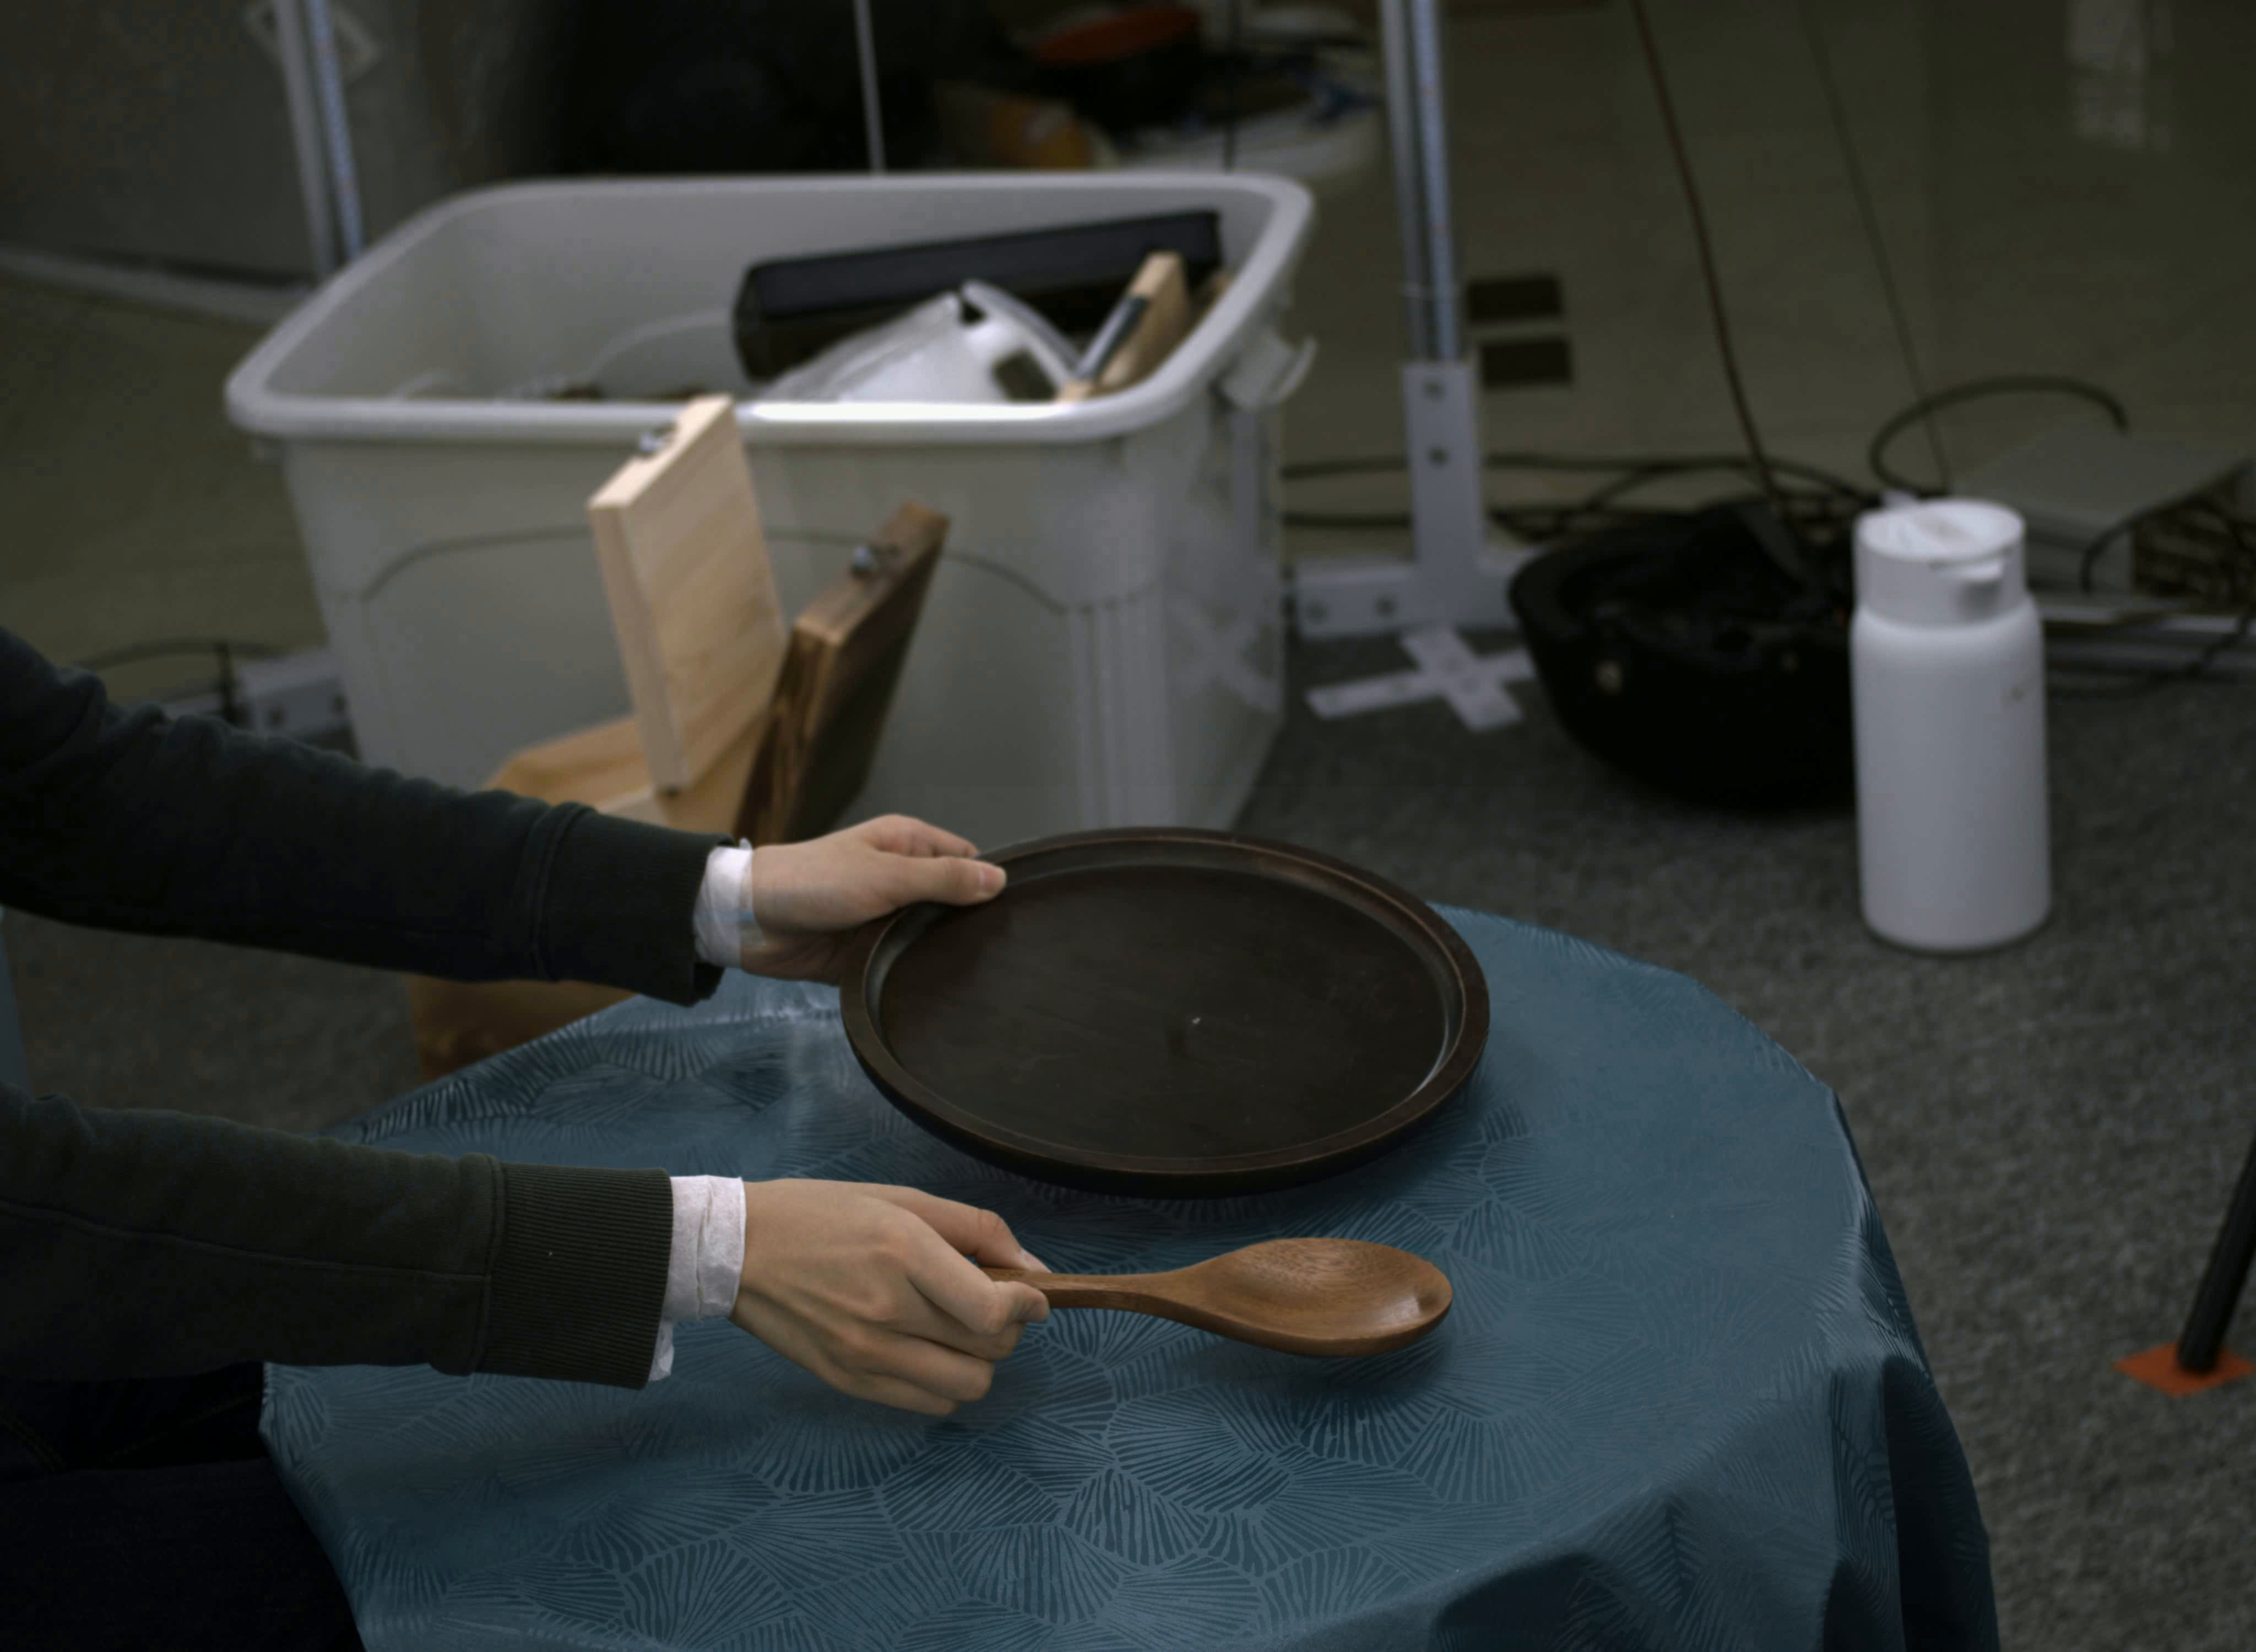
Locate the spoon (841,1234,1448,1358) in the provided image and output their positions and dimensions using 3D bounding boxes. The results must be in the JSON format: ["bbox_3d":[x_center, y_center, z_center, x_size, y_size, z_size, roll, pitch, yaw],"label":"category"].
[{"bbox_3d":[0.006,0.167,2.017,0.215,0.017,0.074,2,26,0],"label":"spoon"}]

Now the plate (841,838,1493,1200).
[{"bbox_3d":[0.014,0.073,2.198,0.254,0.029,0.250,2,30,-1],"label":"plate"}]
